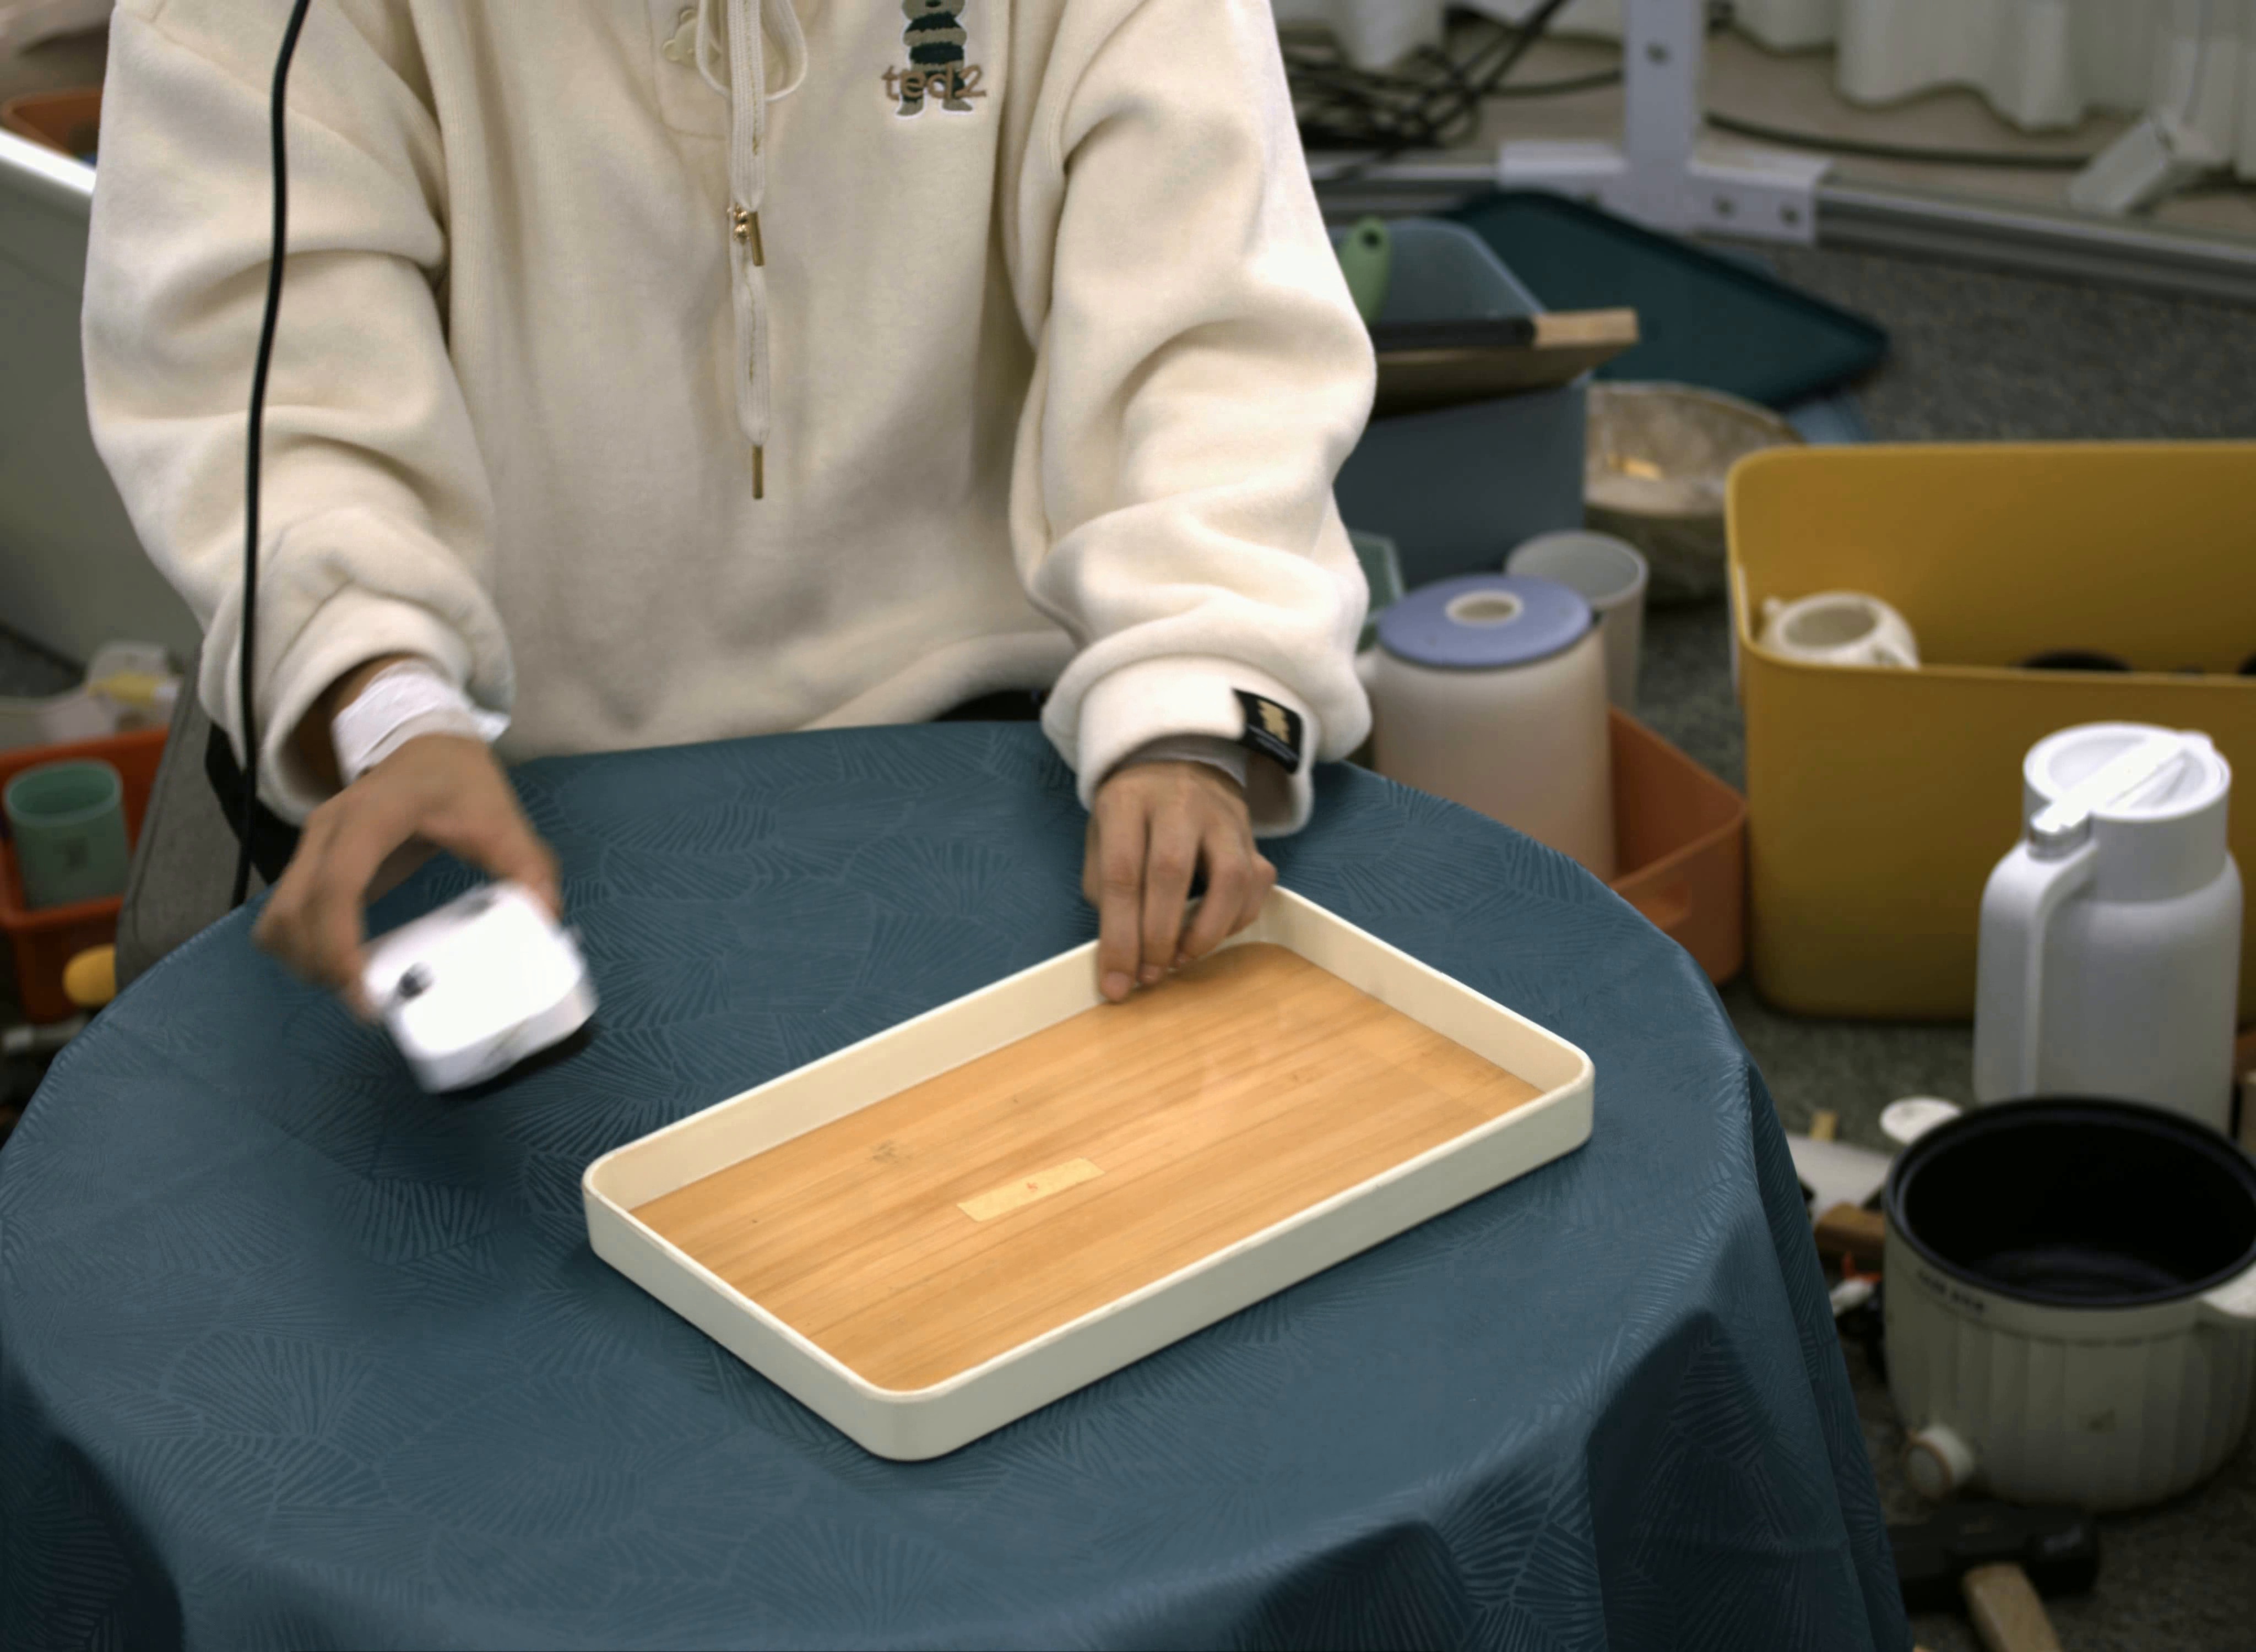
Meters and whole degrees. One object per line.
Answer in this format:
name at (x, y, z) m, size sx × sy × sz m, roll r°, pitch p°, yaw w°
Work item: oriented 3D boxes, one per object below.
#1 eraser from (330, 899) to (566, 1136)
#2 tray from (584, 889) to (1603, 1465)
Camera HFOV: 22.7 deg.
eraser at (-0.226, 0.060, 1.872) m, size 0.063 × 0.034 × 0.132 m, roll -22°, pitch 23°, yaw -9°
tray at (-0.009, 0.110, 1.855) m, size 0.303 × 0.027 × 0.192 m, roll -22°, pitch 33°, yaw -32°
